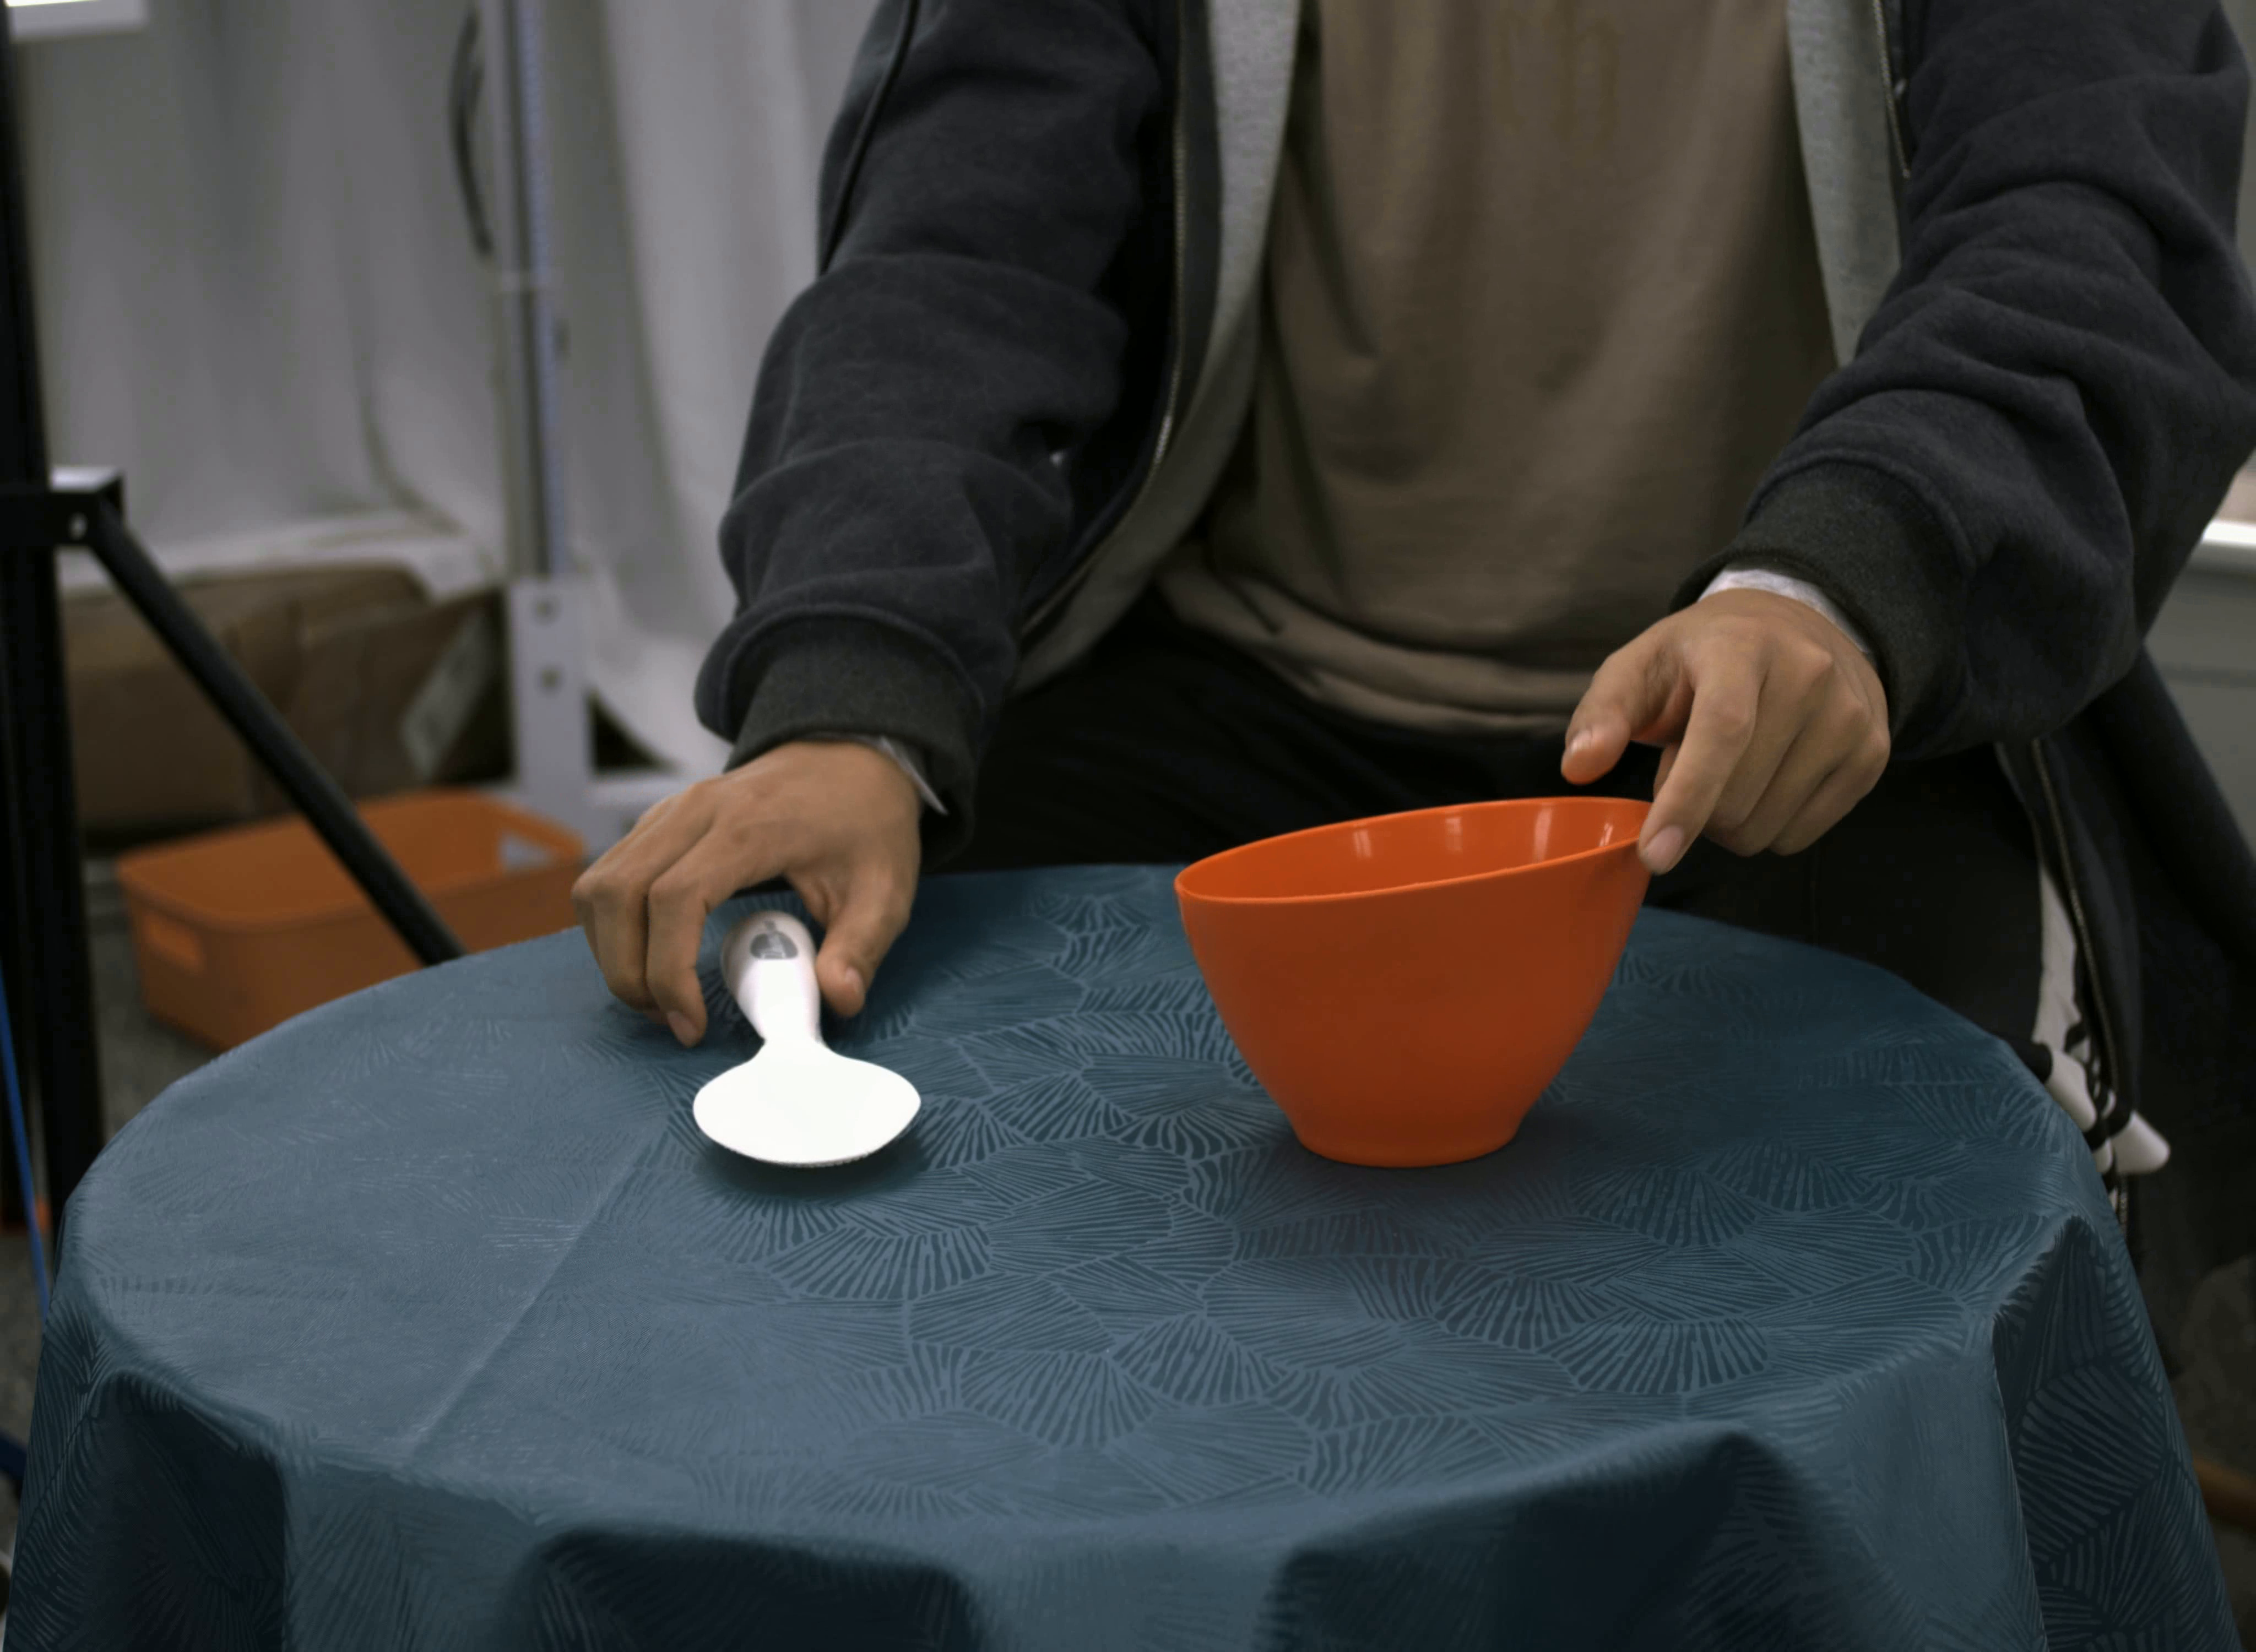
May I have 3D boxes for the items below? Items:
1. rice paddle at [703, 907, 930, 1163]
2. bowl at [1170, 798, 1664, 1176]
[{"bbox_3d":[-0.103,0.068,1.665,0.068,0.029,0.207,-6,16,-8],"label":"rice paddle"},{"bbox_3d":[0.087,0.047,1.576,0.147,0.104,0.149,-4,15,0],"label":"bowl"}]
